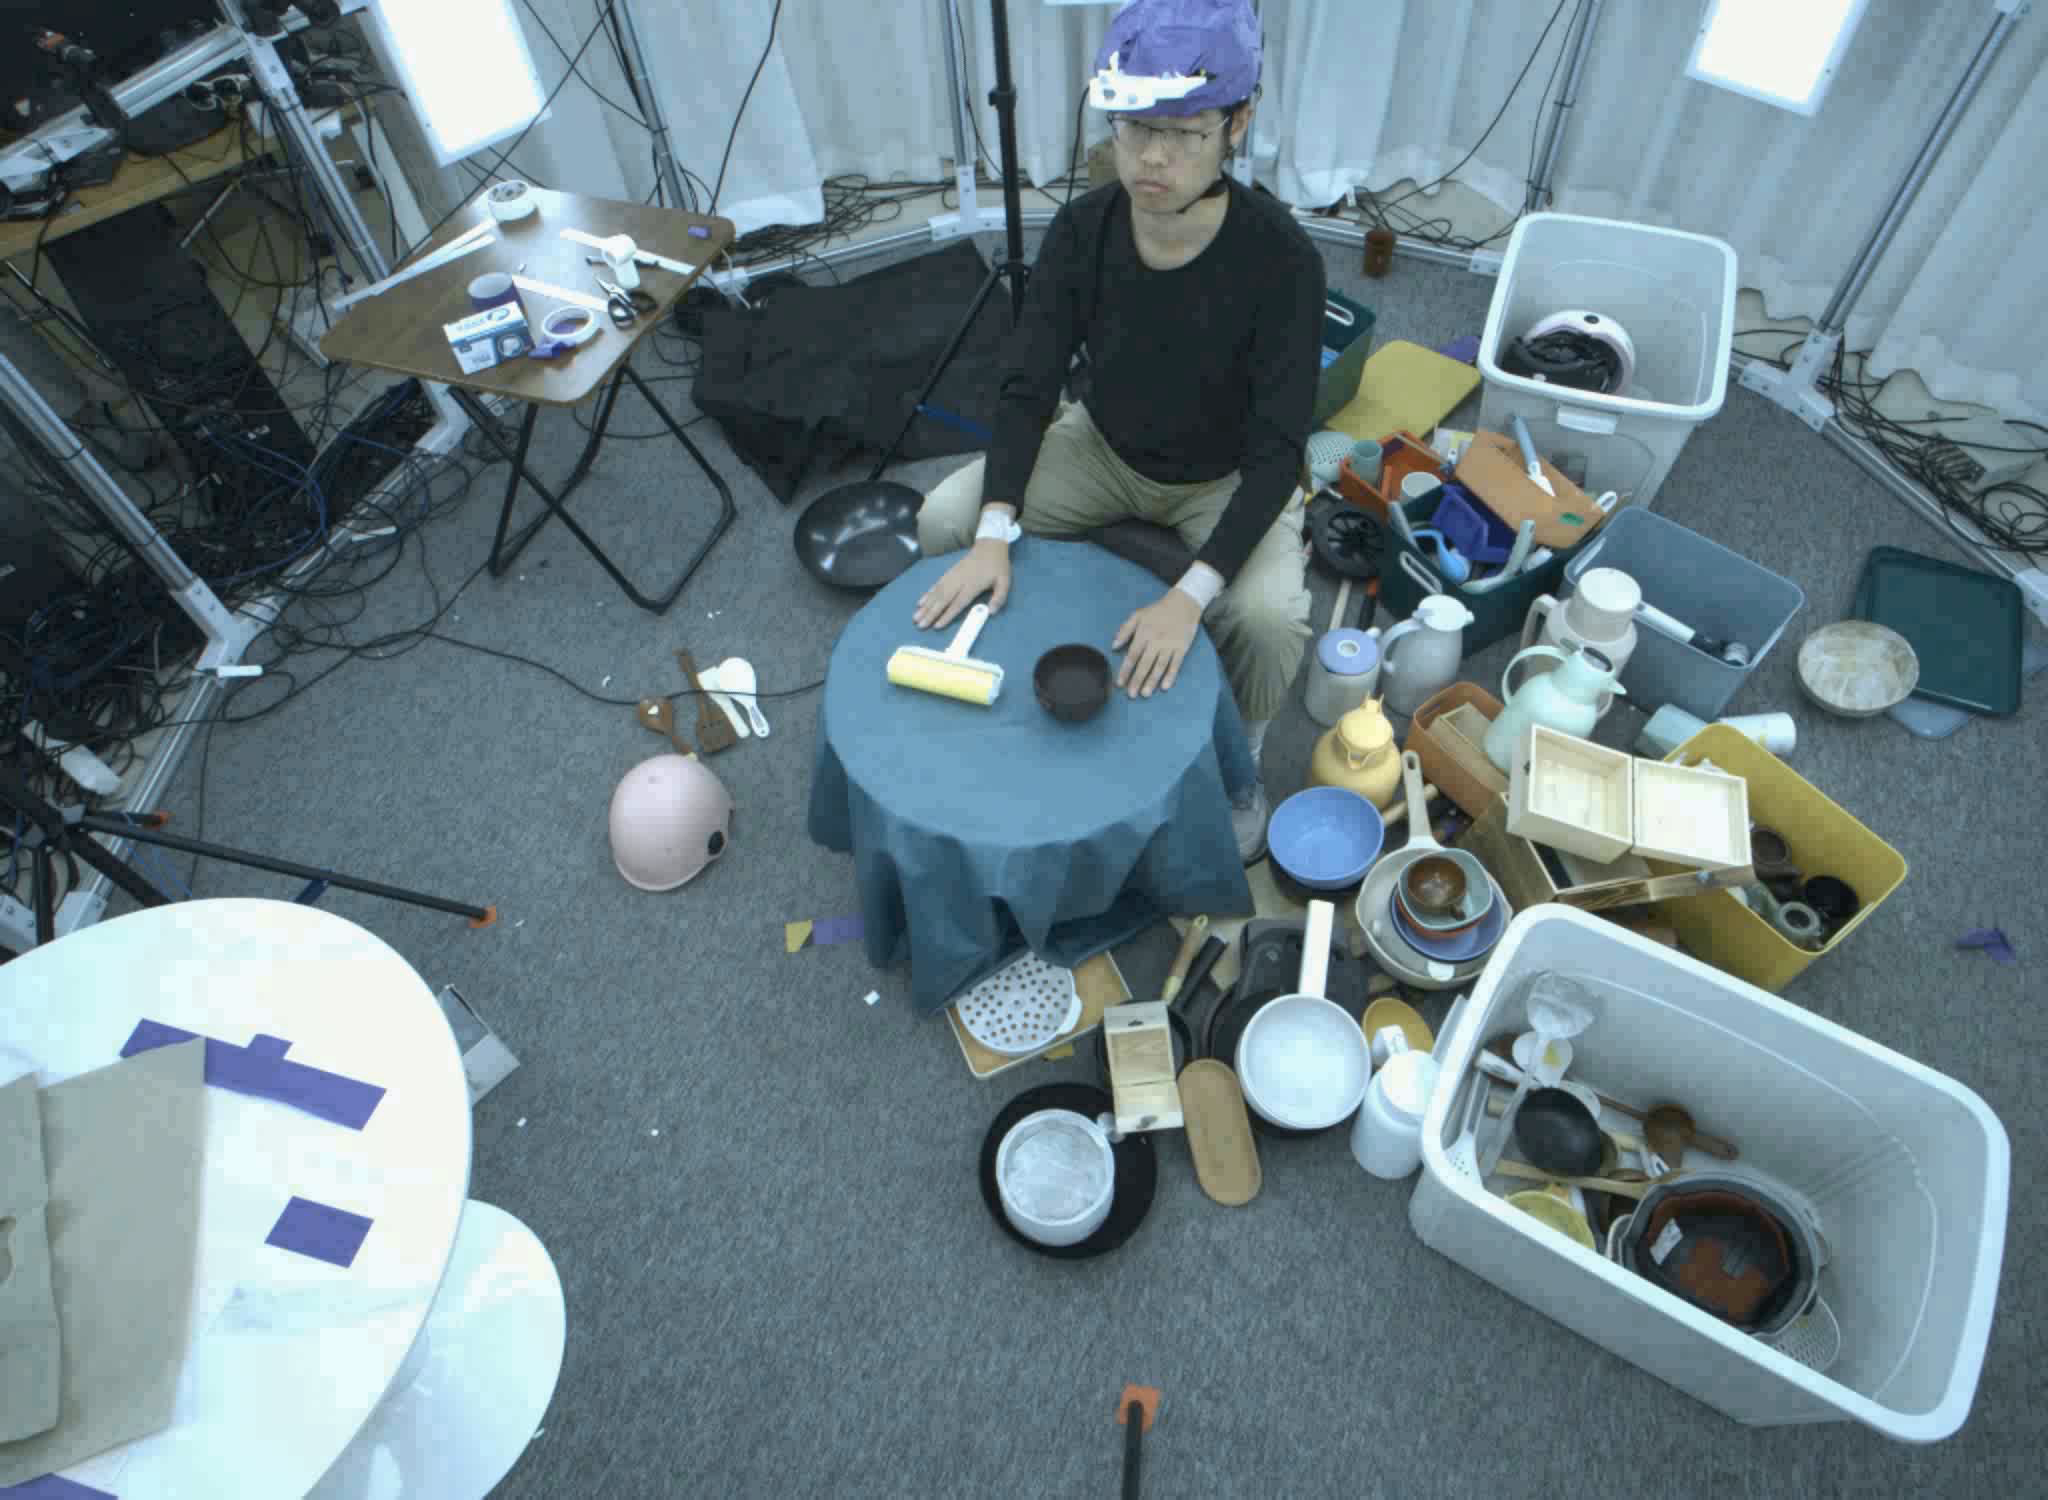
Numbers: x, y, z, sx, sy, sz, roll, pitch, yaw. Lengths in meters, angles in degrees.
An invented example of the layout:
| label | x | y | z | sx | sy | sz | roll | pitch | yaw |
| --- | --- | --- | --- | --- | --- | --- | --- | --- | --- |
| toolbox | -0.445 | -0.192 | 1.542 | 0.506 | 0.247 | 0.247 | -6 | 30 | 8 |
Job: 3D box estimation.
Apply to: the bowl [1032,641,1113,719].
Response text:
| label | x | y | z | sx | sy | sz | roll | pitch | yaw |
| --- | --- | --- | --- | --- | --- | --- | --- | --- | --- |
| bowl | 0.072 | -0.095 | 1.806 | 0.118 | 0.070 | 0.117 | 0 | 56 | 2 |

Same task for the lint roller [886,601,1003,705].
| label | x | y | z | sx | sy | sz | roll | pitch | yaw |
| --- | --- | --- | --- | --- | --- | --- | --- | --- | --- |
| lint roller | -0.102 | -0.164 | 1.875 | 0.173 | 0.052 | 0.191 | 13 | 61 | 10 |
